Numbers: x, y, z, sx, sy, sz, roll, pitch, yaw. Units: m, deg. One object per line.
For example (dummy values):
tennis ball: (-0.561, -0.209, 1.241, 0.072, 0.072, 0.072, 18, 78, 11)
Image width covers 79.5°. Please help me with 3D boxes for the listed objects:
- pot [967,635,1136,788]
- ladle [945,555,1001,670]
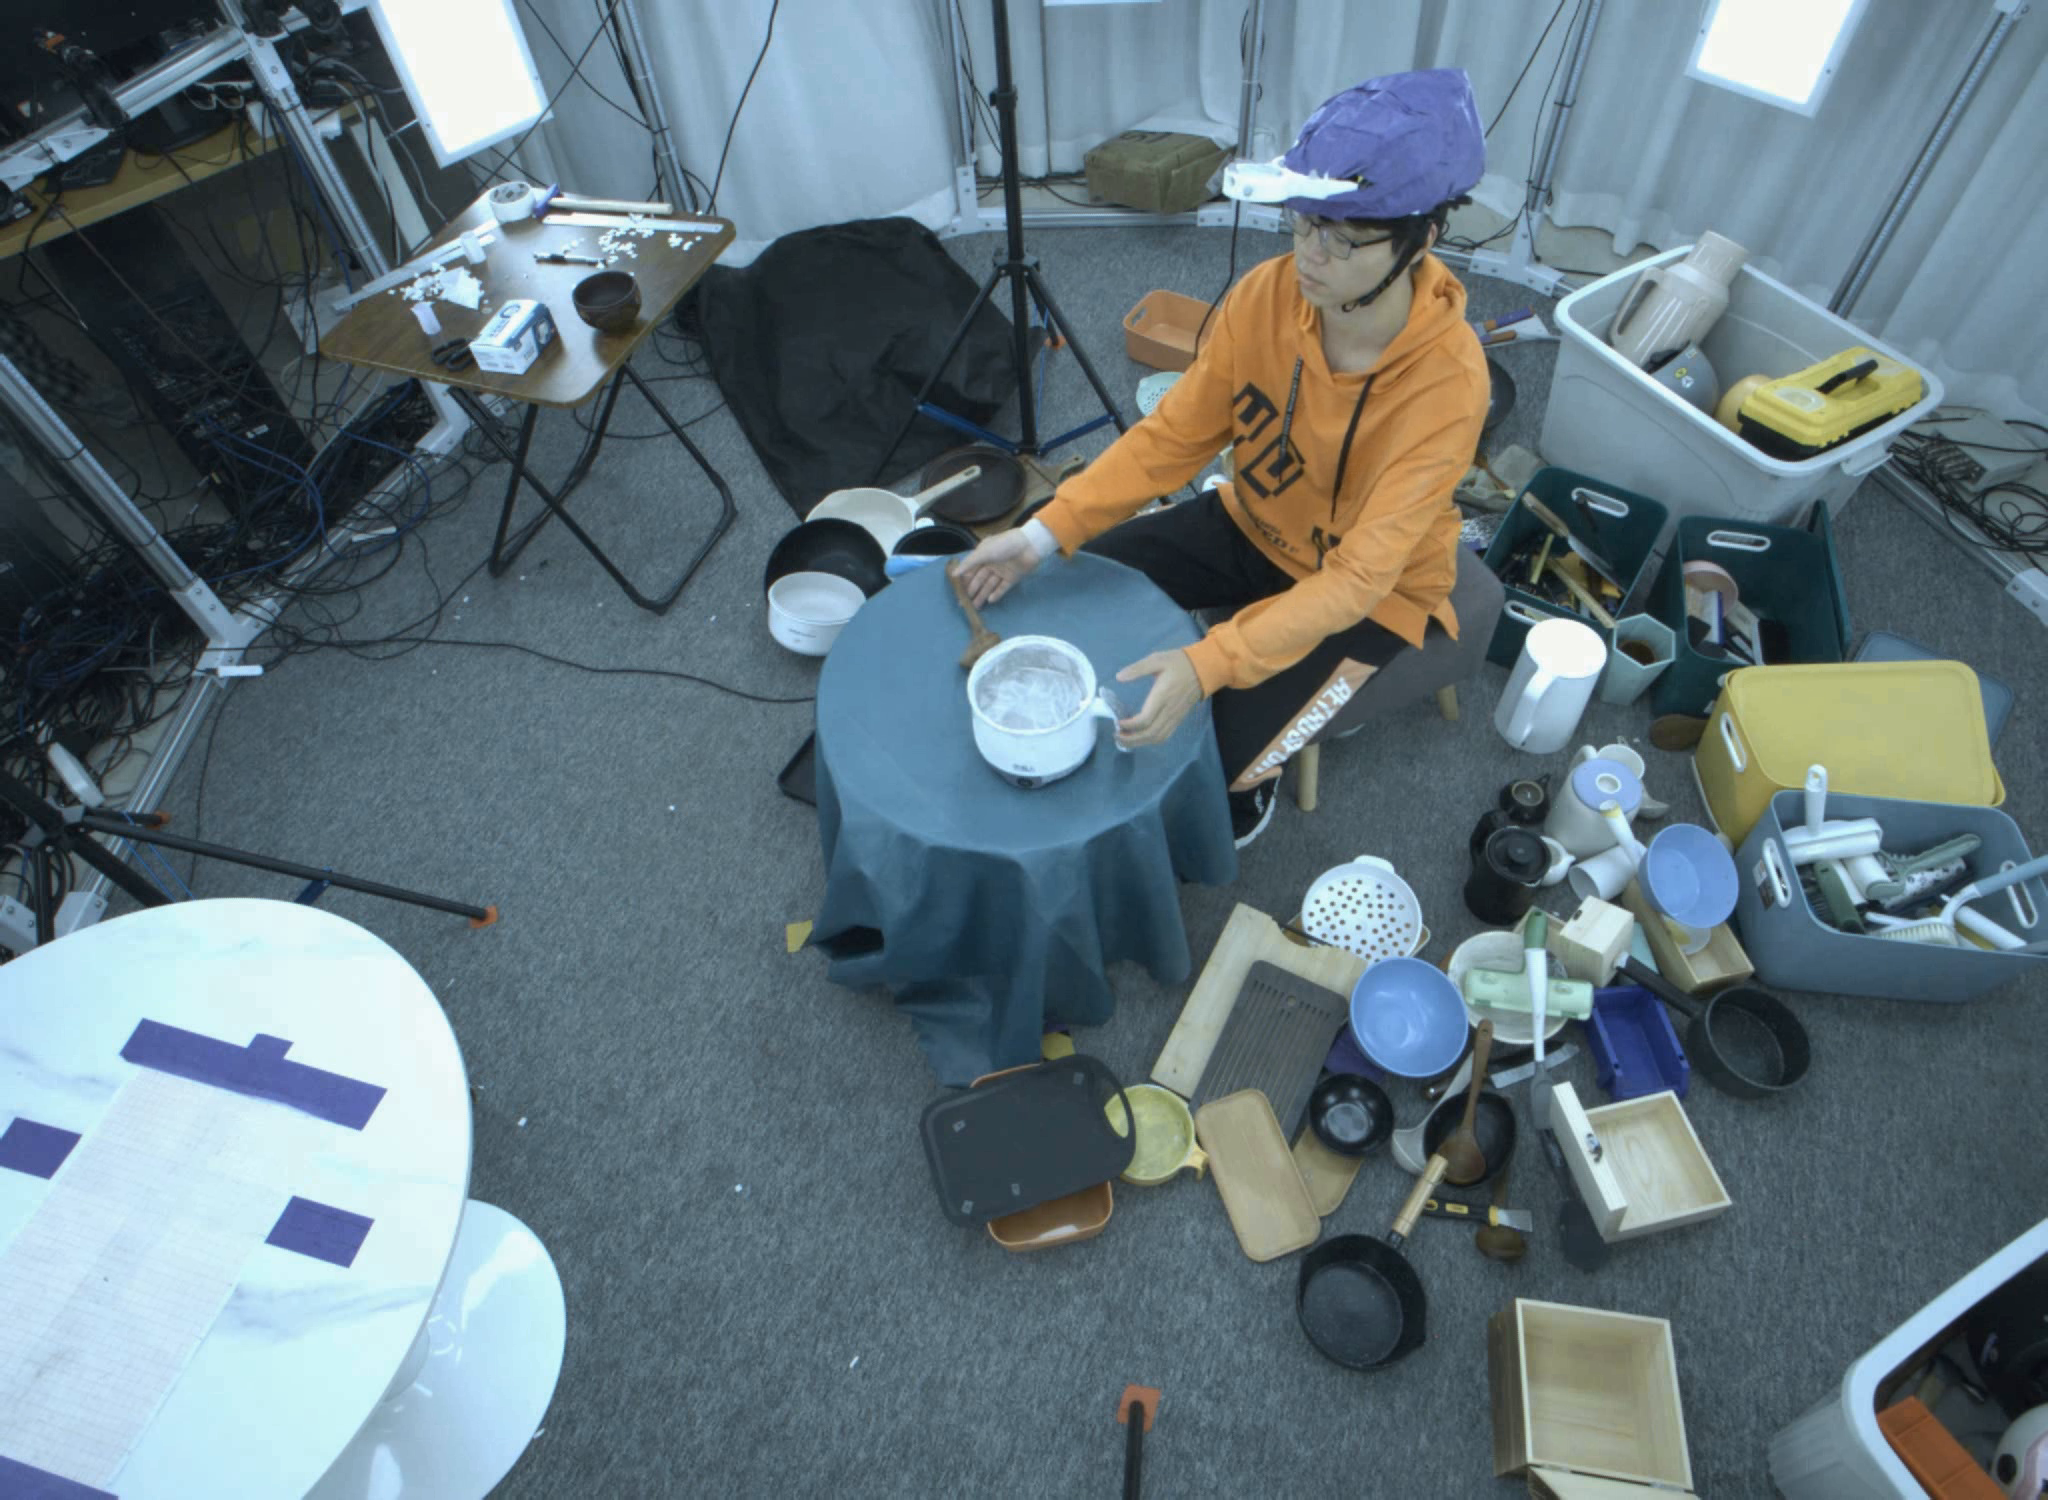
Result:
pot: (0.041, -0.051, 1.736, 0.232, 0.138, 0.177, 5, 56, 7)
ladle: (-0.095, -0.226, 1.913, 0.076, 0.066, 0.256, -30, 55, 14)
